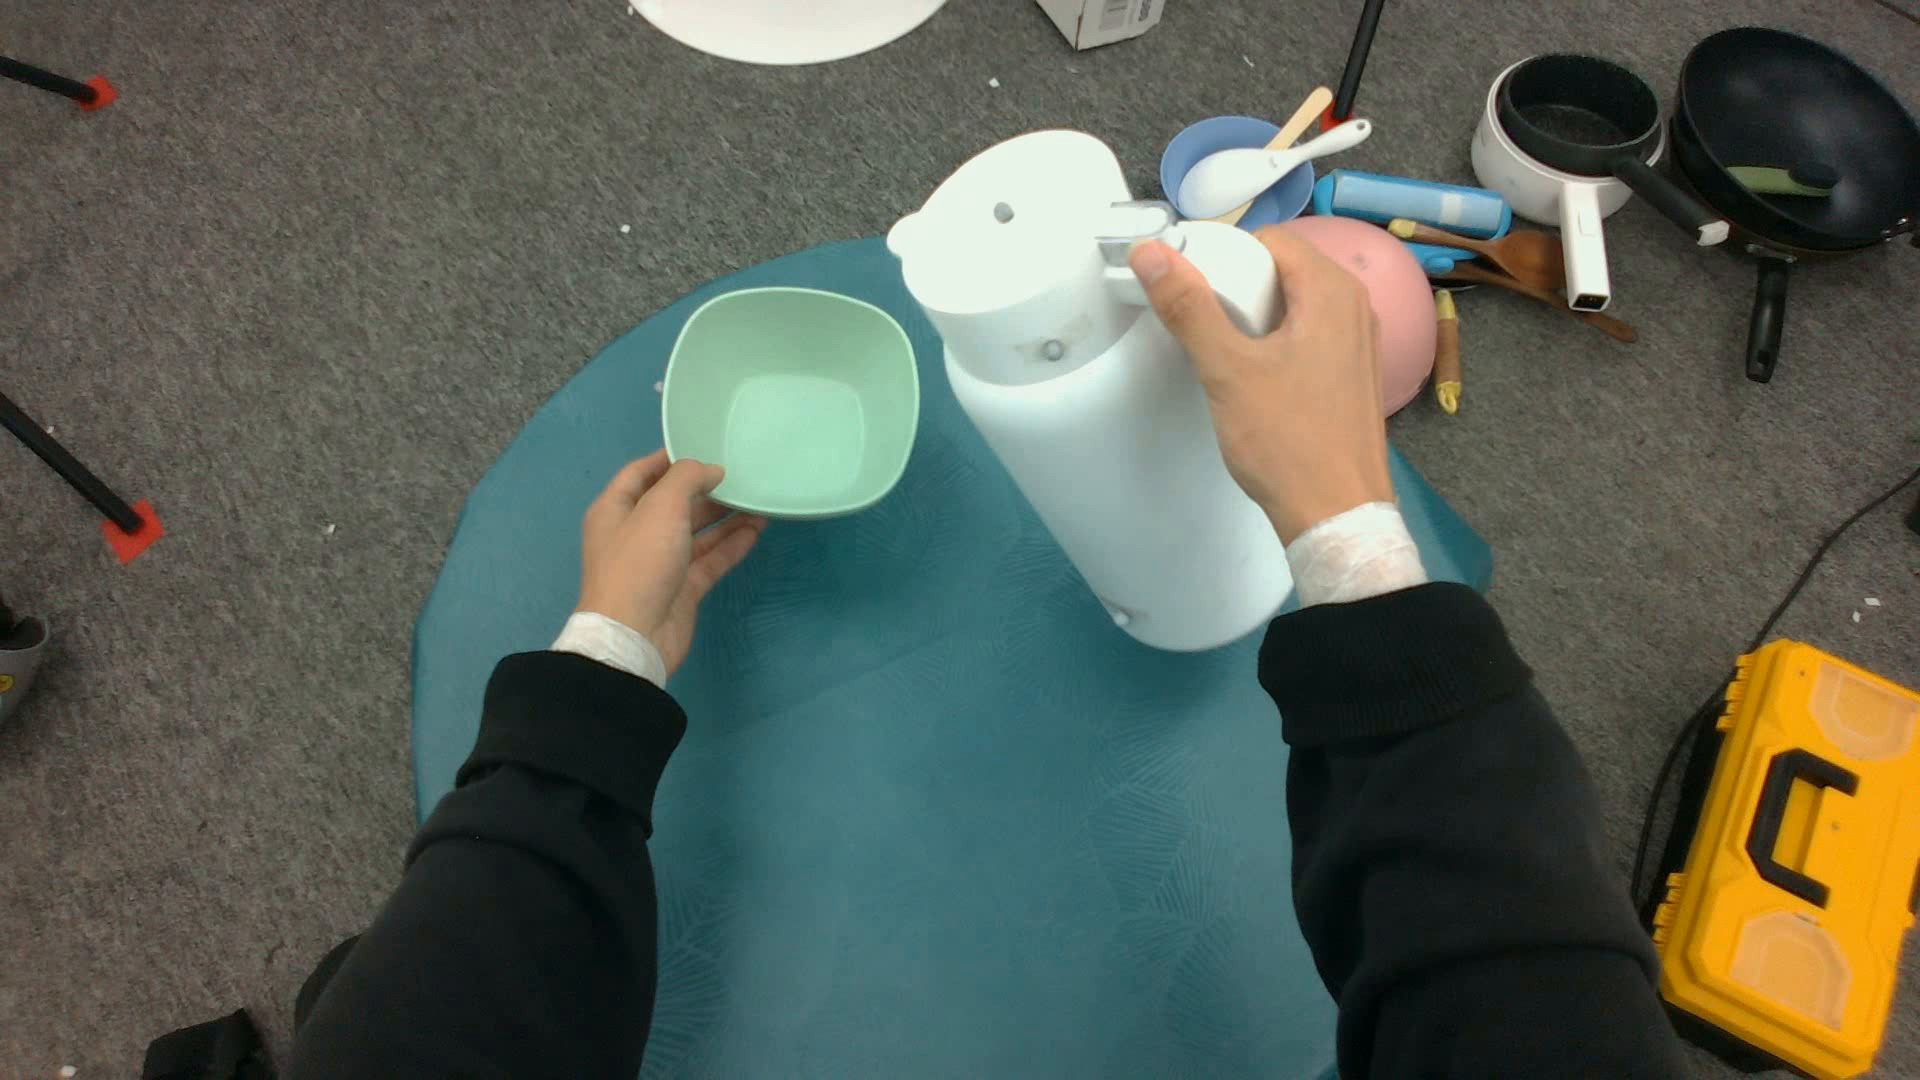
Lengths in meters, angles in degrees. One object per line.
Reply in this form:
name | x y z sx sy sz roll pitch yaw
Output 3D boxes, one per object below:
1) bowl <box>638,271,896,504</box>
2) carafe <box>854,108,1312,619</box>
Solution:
bowl | -0.107 -0.077 0.775 0.151 0.058 0.152 3 69 -7
carafe | 0.080 -0.072 0.653 0.172 0.268 0.124 8 60 34
